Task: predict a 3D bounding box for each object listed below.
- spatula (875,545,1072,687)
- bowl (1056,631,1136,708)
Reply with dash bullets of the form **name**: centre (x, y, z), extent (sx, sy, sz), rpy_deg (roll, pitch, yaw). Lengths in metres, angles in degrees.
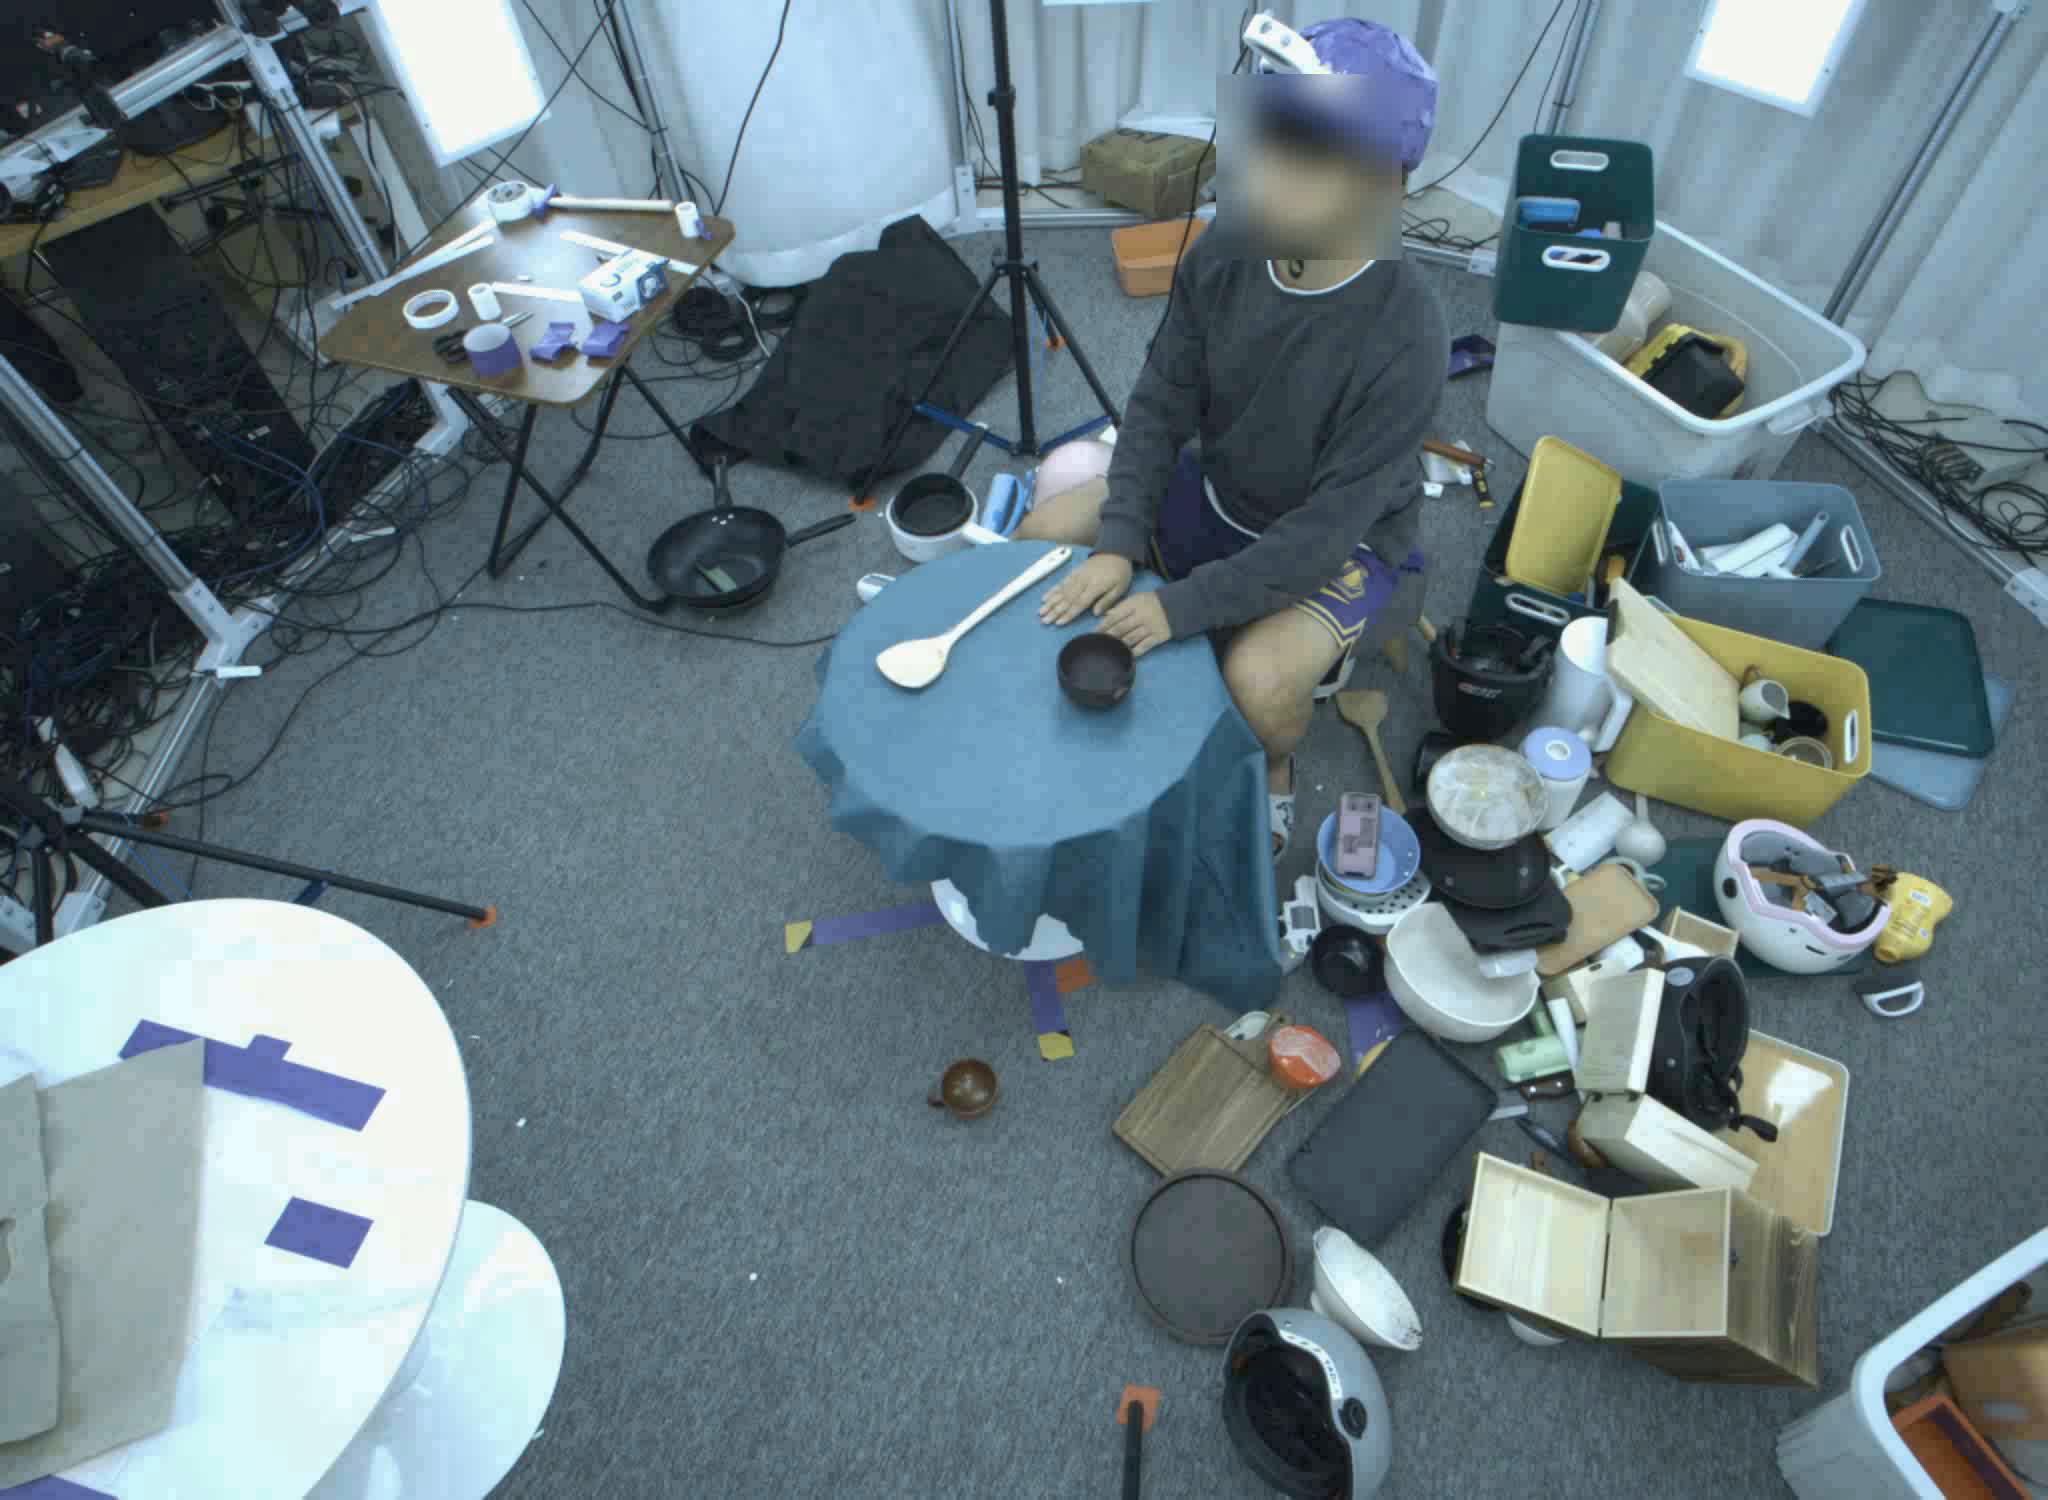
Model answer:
- **spatula**: centre (-0.068, -0.223, 1.940), extent (0.094, 0.018, 0.393), rpy_deg (39, 65, 23)
- **bowl**: centre (0.107, -0.111, 1.822), extent (0.118, 0.070, 0.117), rpy_deg (0, 53, 1)
